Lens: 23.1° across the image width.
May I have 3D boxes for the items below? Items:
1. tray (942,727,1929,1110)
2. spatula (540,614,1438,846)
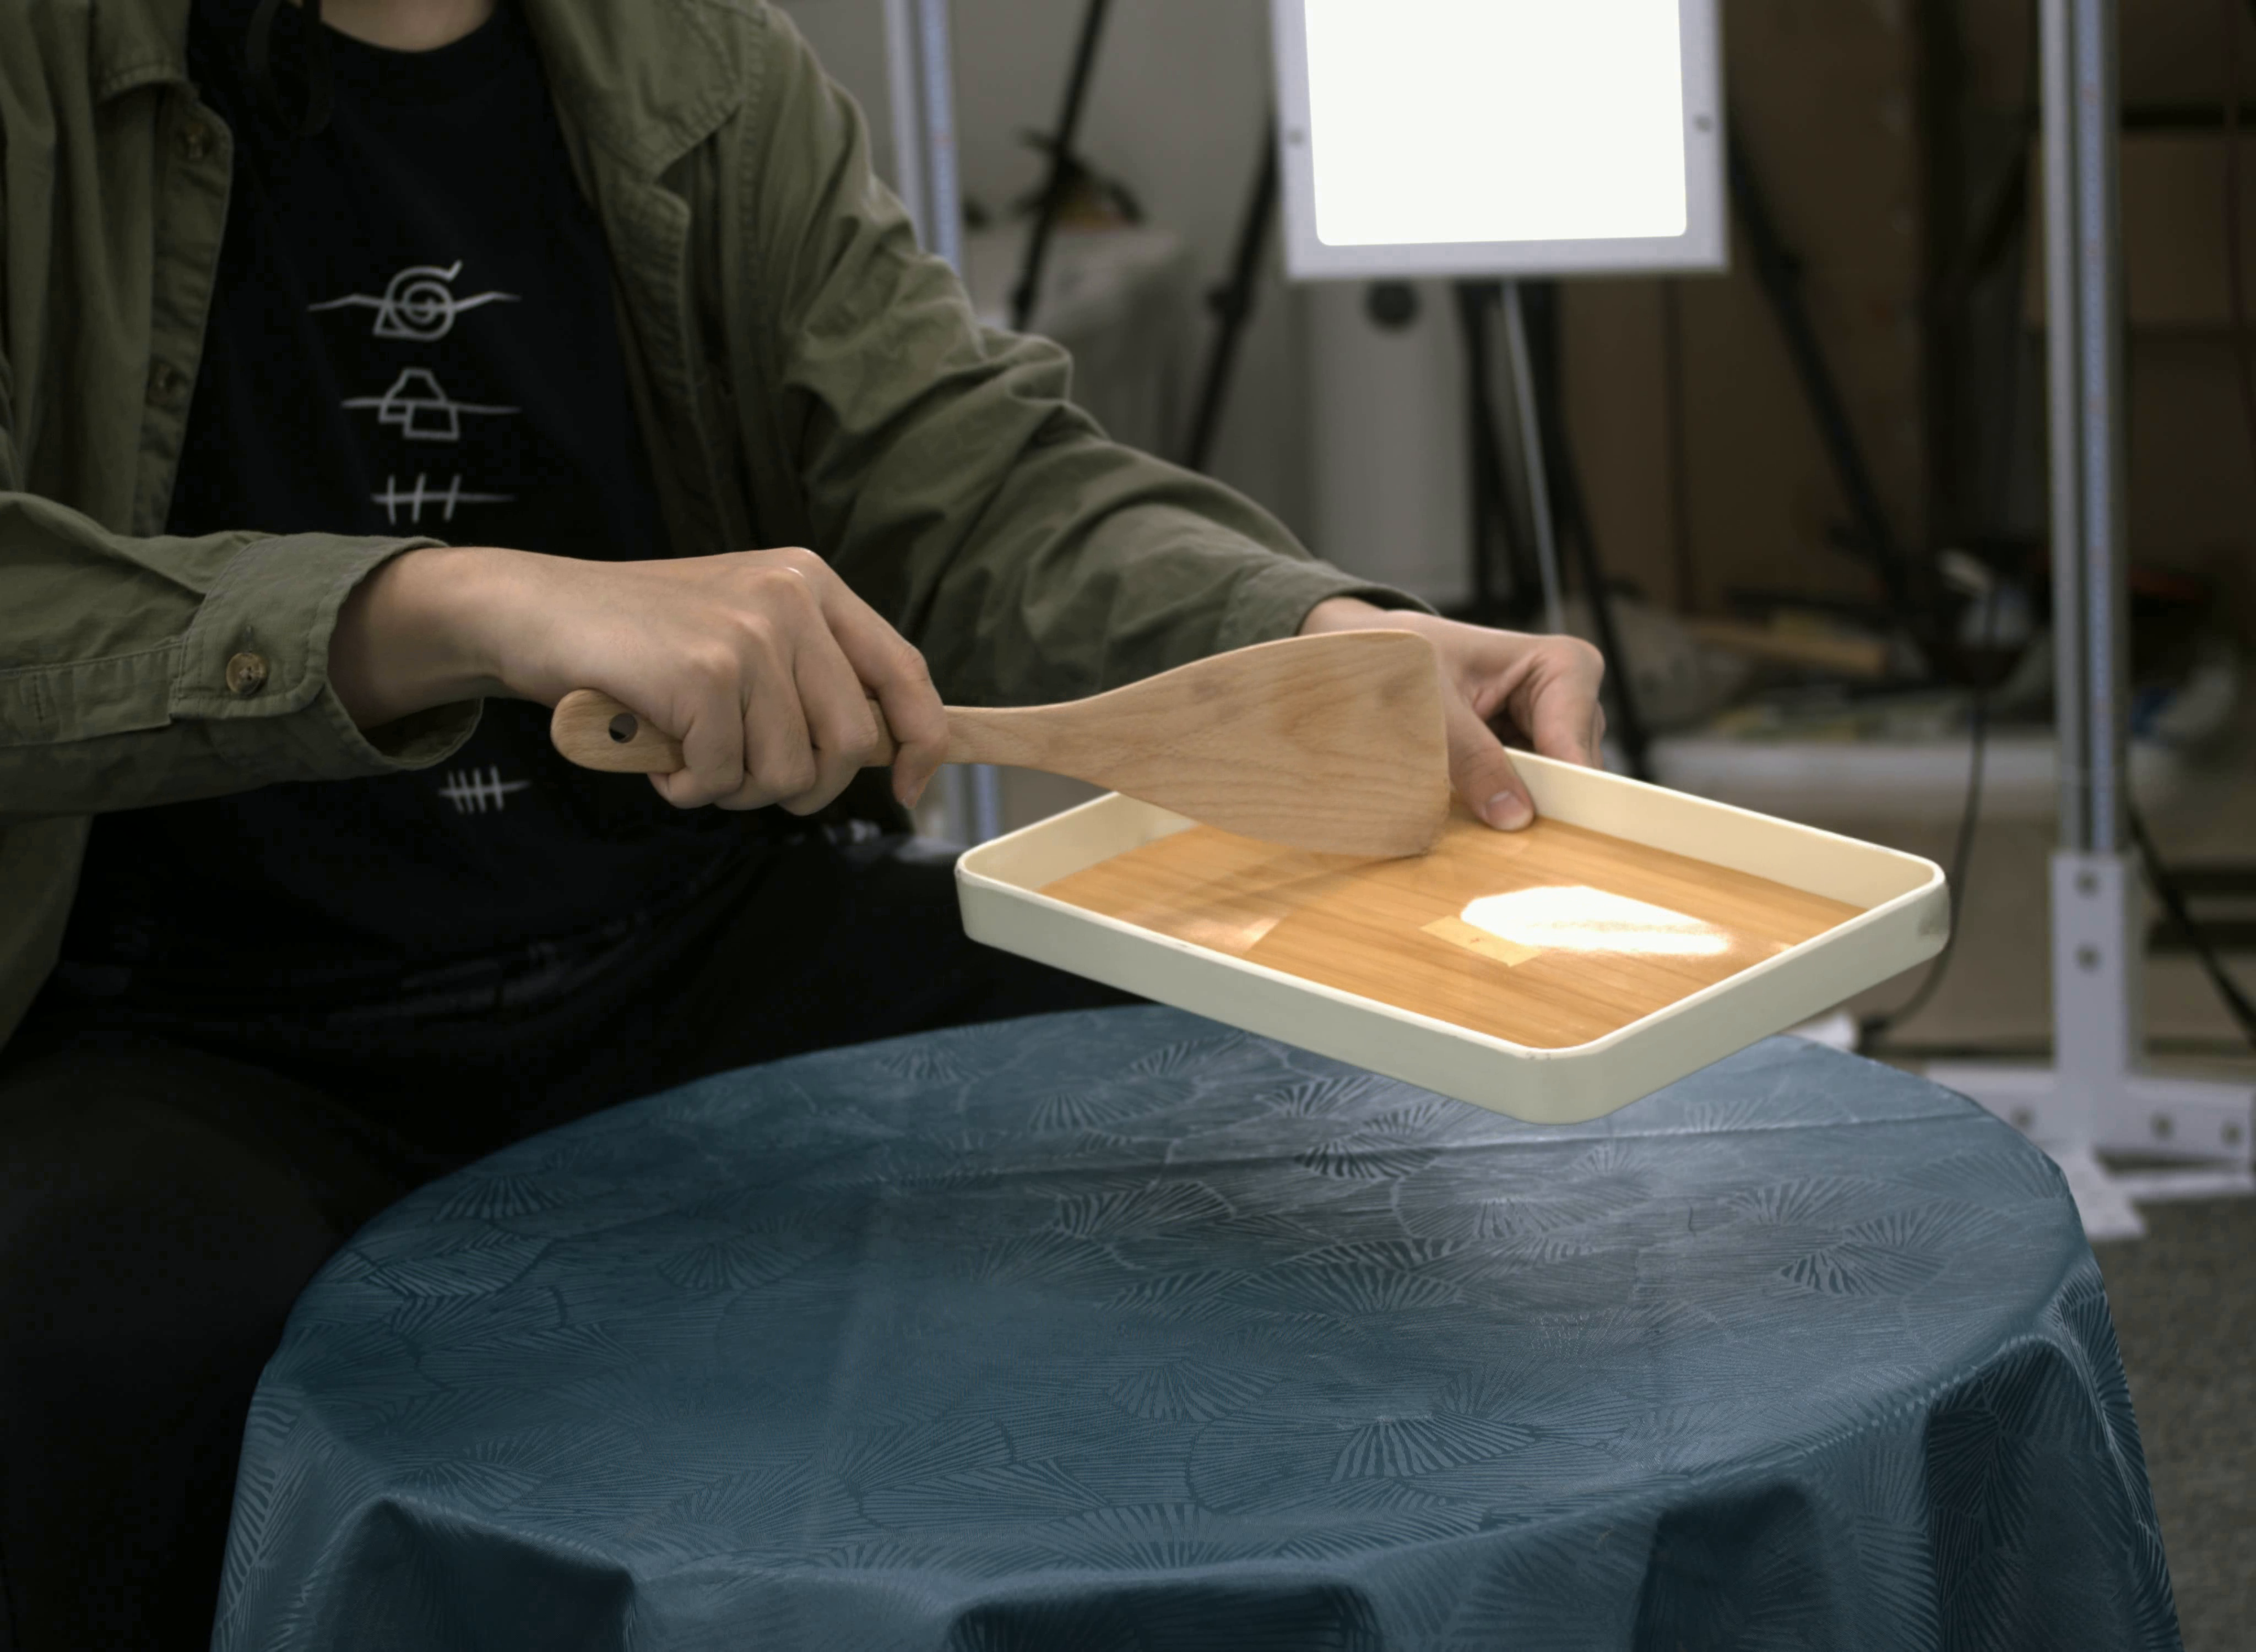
[{"bbox_3d":[0.098,0.023,1.817,0.187,0.027,0.306,-22,24,-35],"label":"tray"},{"bbox_3d":[-0.039,-0.032,1.808,0.320,0.080,0.017,0,12,-26],"label":"spatula"}]
